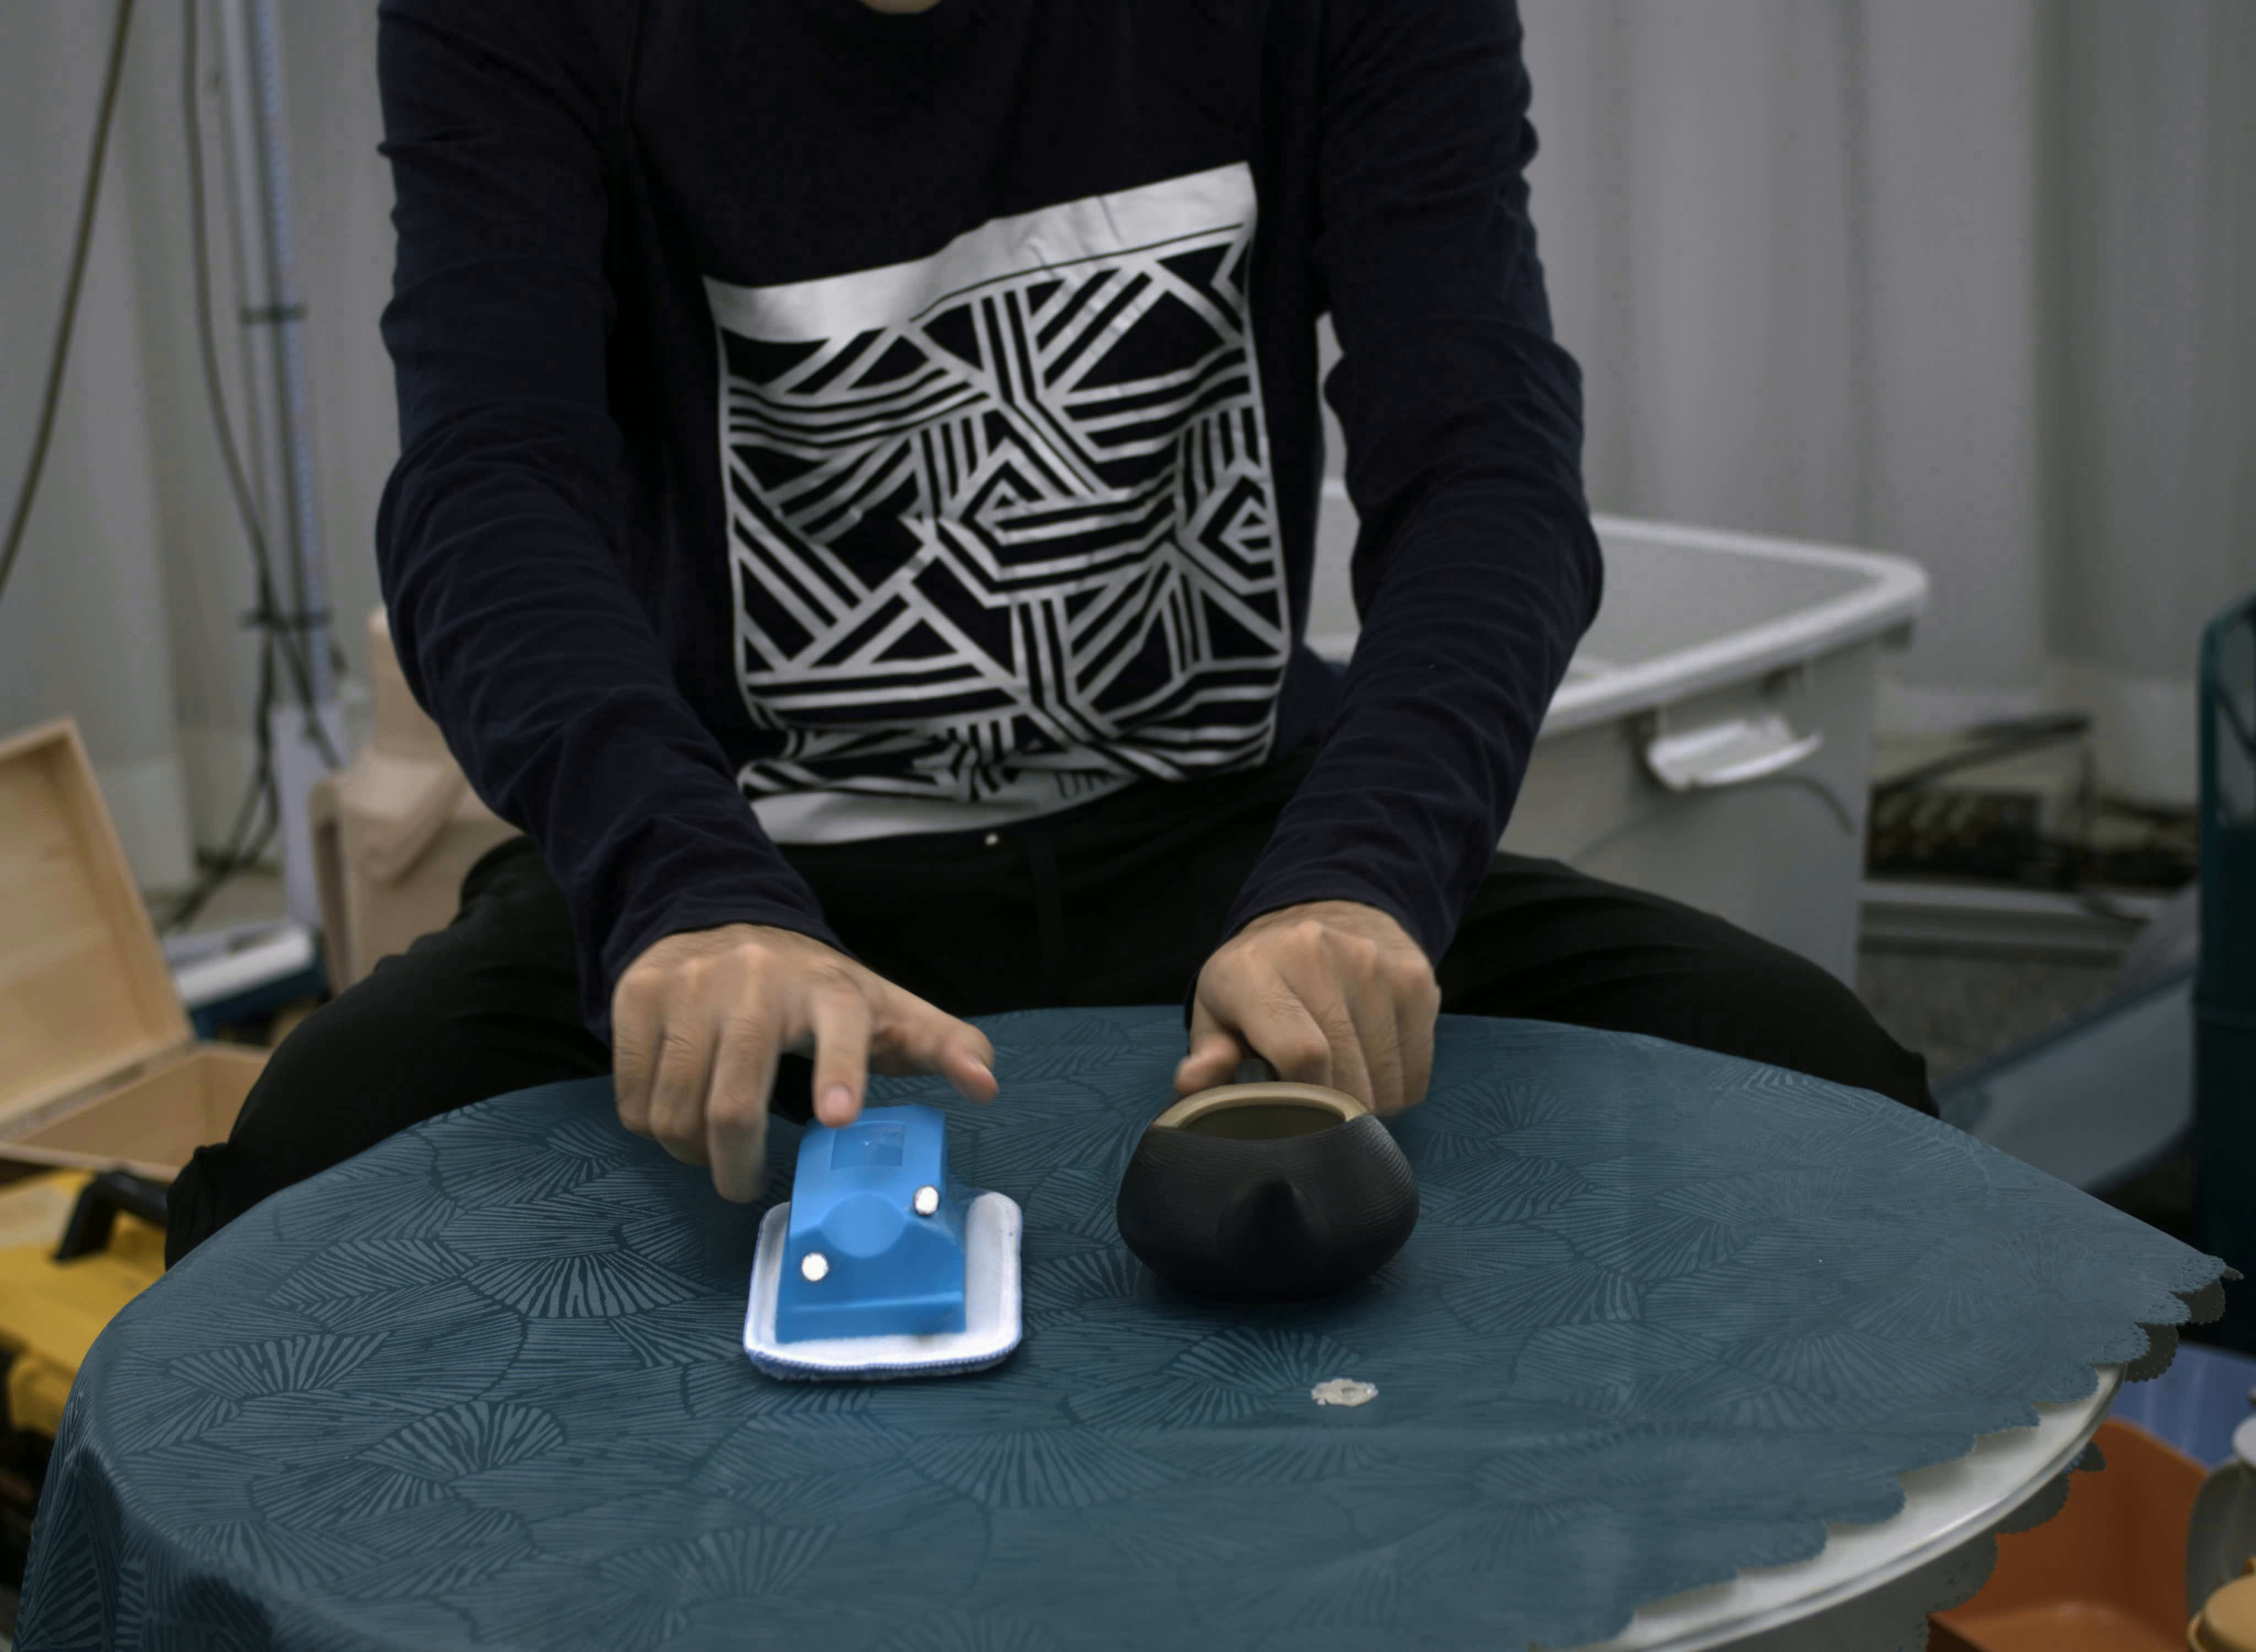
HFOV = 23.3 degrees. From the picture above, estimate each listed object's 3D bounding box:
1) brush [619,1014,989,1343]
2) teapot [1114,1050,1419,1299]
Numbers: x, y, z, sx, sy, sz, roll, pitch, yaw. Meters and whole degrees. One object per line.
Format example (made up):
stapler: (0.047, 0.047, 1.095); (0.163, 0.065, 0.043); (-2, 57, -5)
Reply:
brush: (-0.093, 0.100, 1.610); (0.083, 0.055, 0.146); (1, 25, -24)
teapot: (0.041, 0.107, 1.626); (0.090, 0.053, 0.134); (-2, 15, -1)
